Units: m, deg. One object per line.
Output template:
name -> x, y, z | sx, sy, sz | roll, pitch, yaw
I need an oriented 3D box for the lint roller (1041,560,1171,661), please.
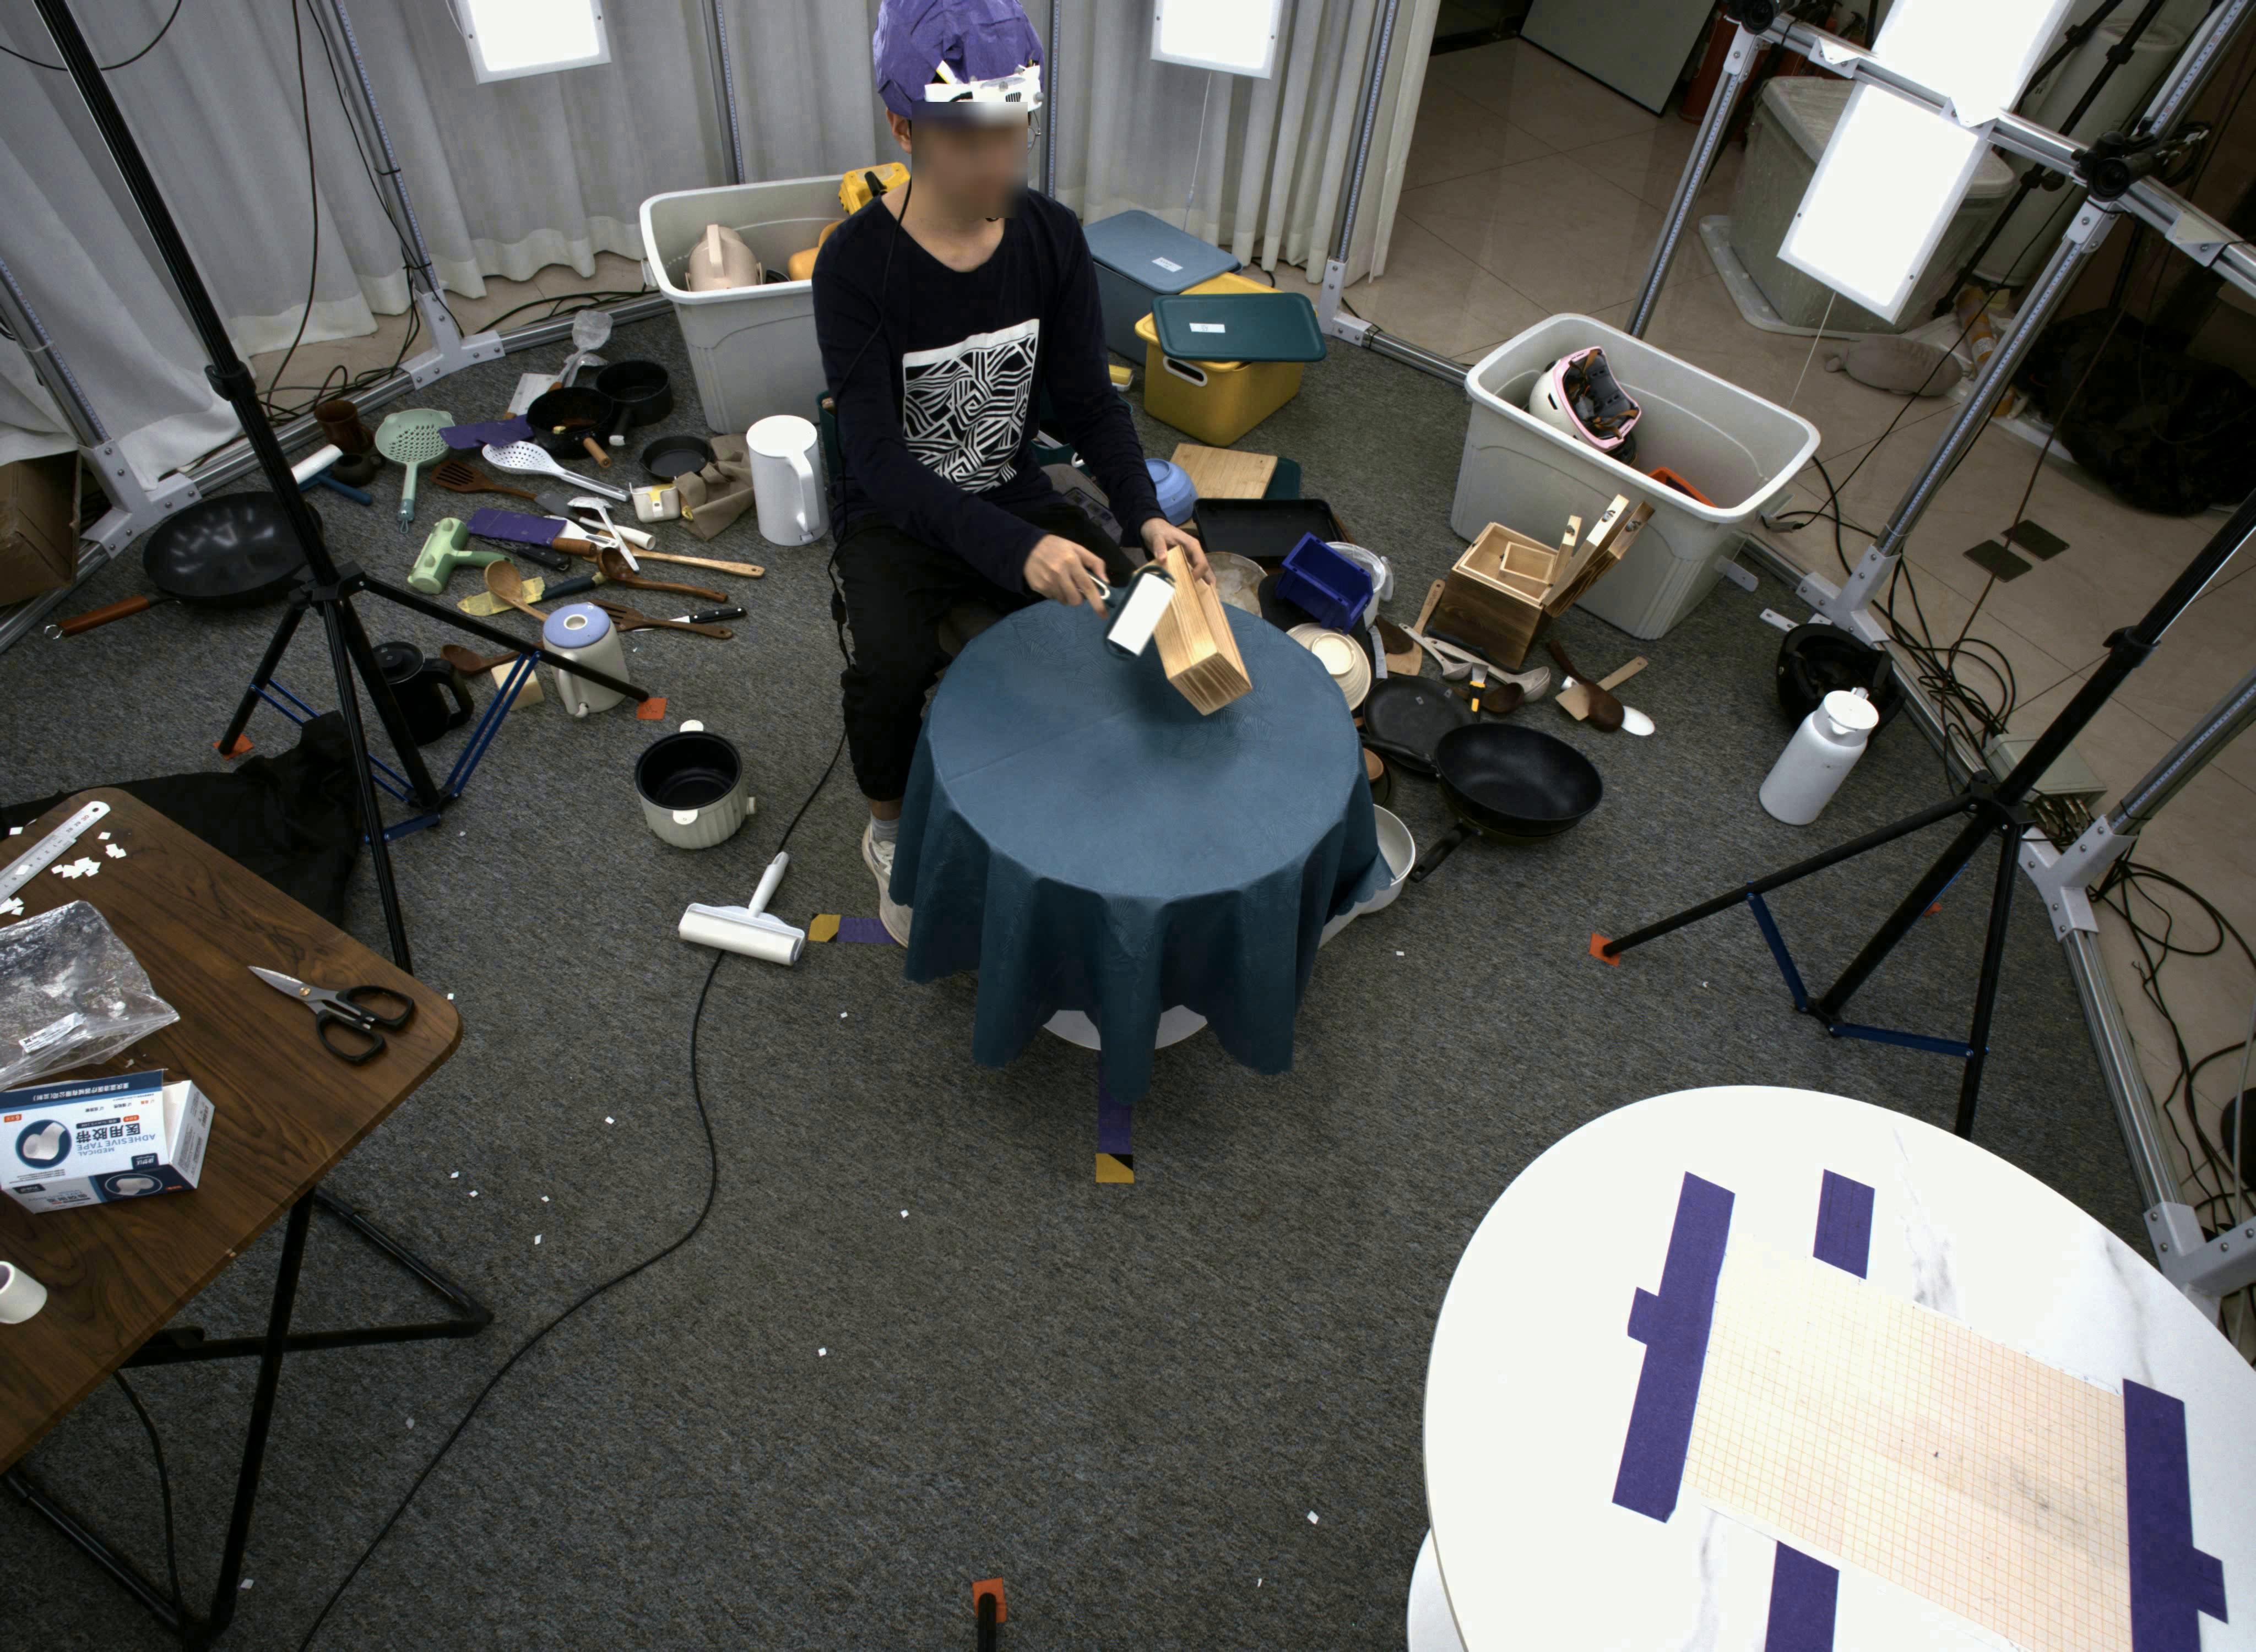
lint roller -> -0.045, -0.312, 1.707 | 0.181, 0.048, 0.134 | 30, 90, 14

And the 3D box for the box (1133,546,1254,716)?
box -> 0.090, -0.274, 1.798 | 0.080, 0.105, 0.216 | -30, 52, 18
